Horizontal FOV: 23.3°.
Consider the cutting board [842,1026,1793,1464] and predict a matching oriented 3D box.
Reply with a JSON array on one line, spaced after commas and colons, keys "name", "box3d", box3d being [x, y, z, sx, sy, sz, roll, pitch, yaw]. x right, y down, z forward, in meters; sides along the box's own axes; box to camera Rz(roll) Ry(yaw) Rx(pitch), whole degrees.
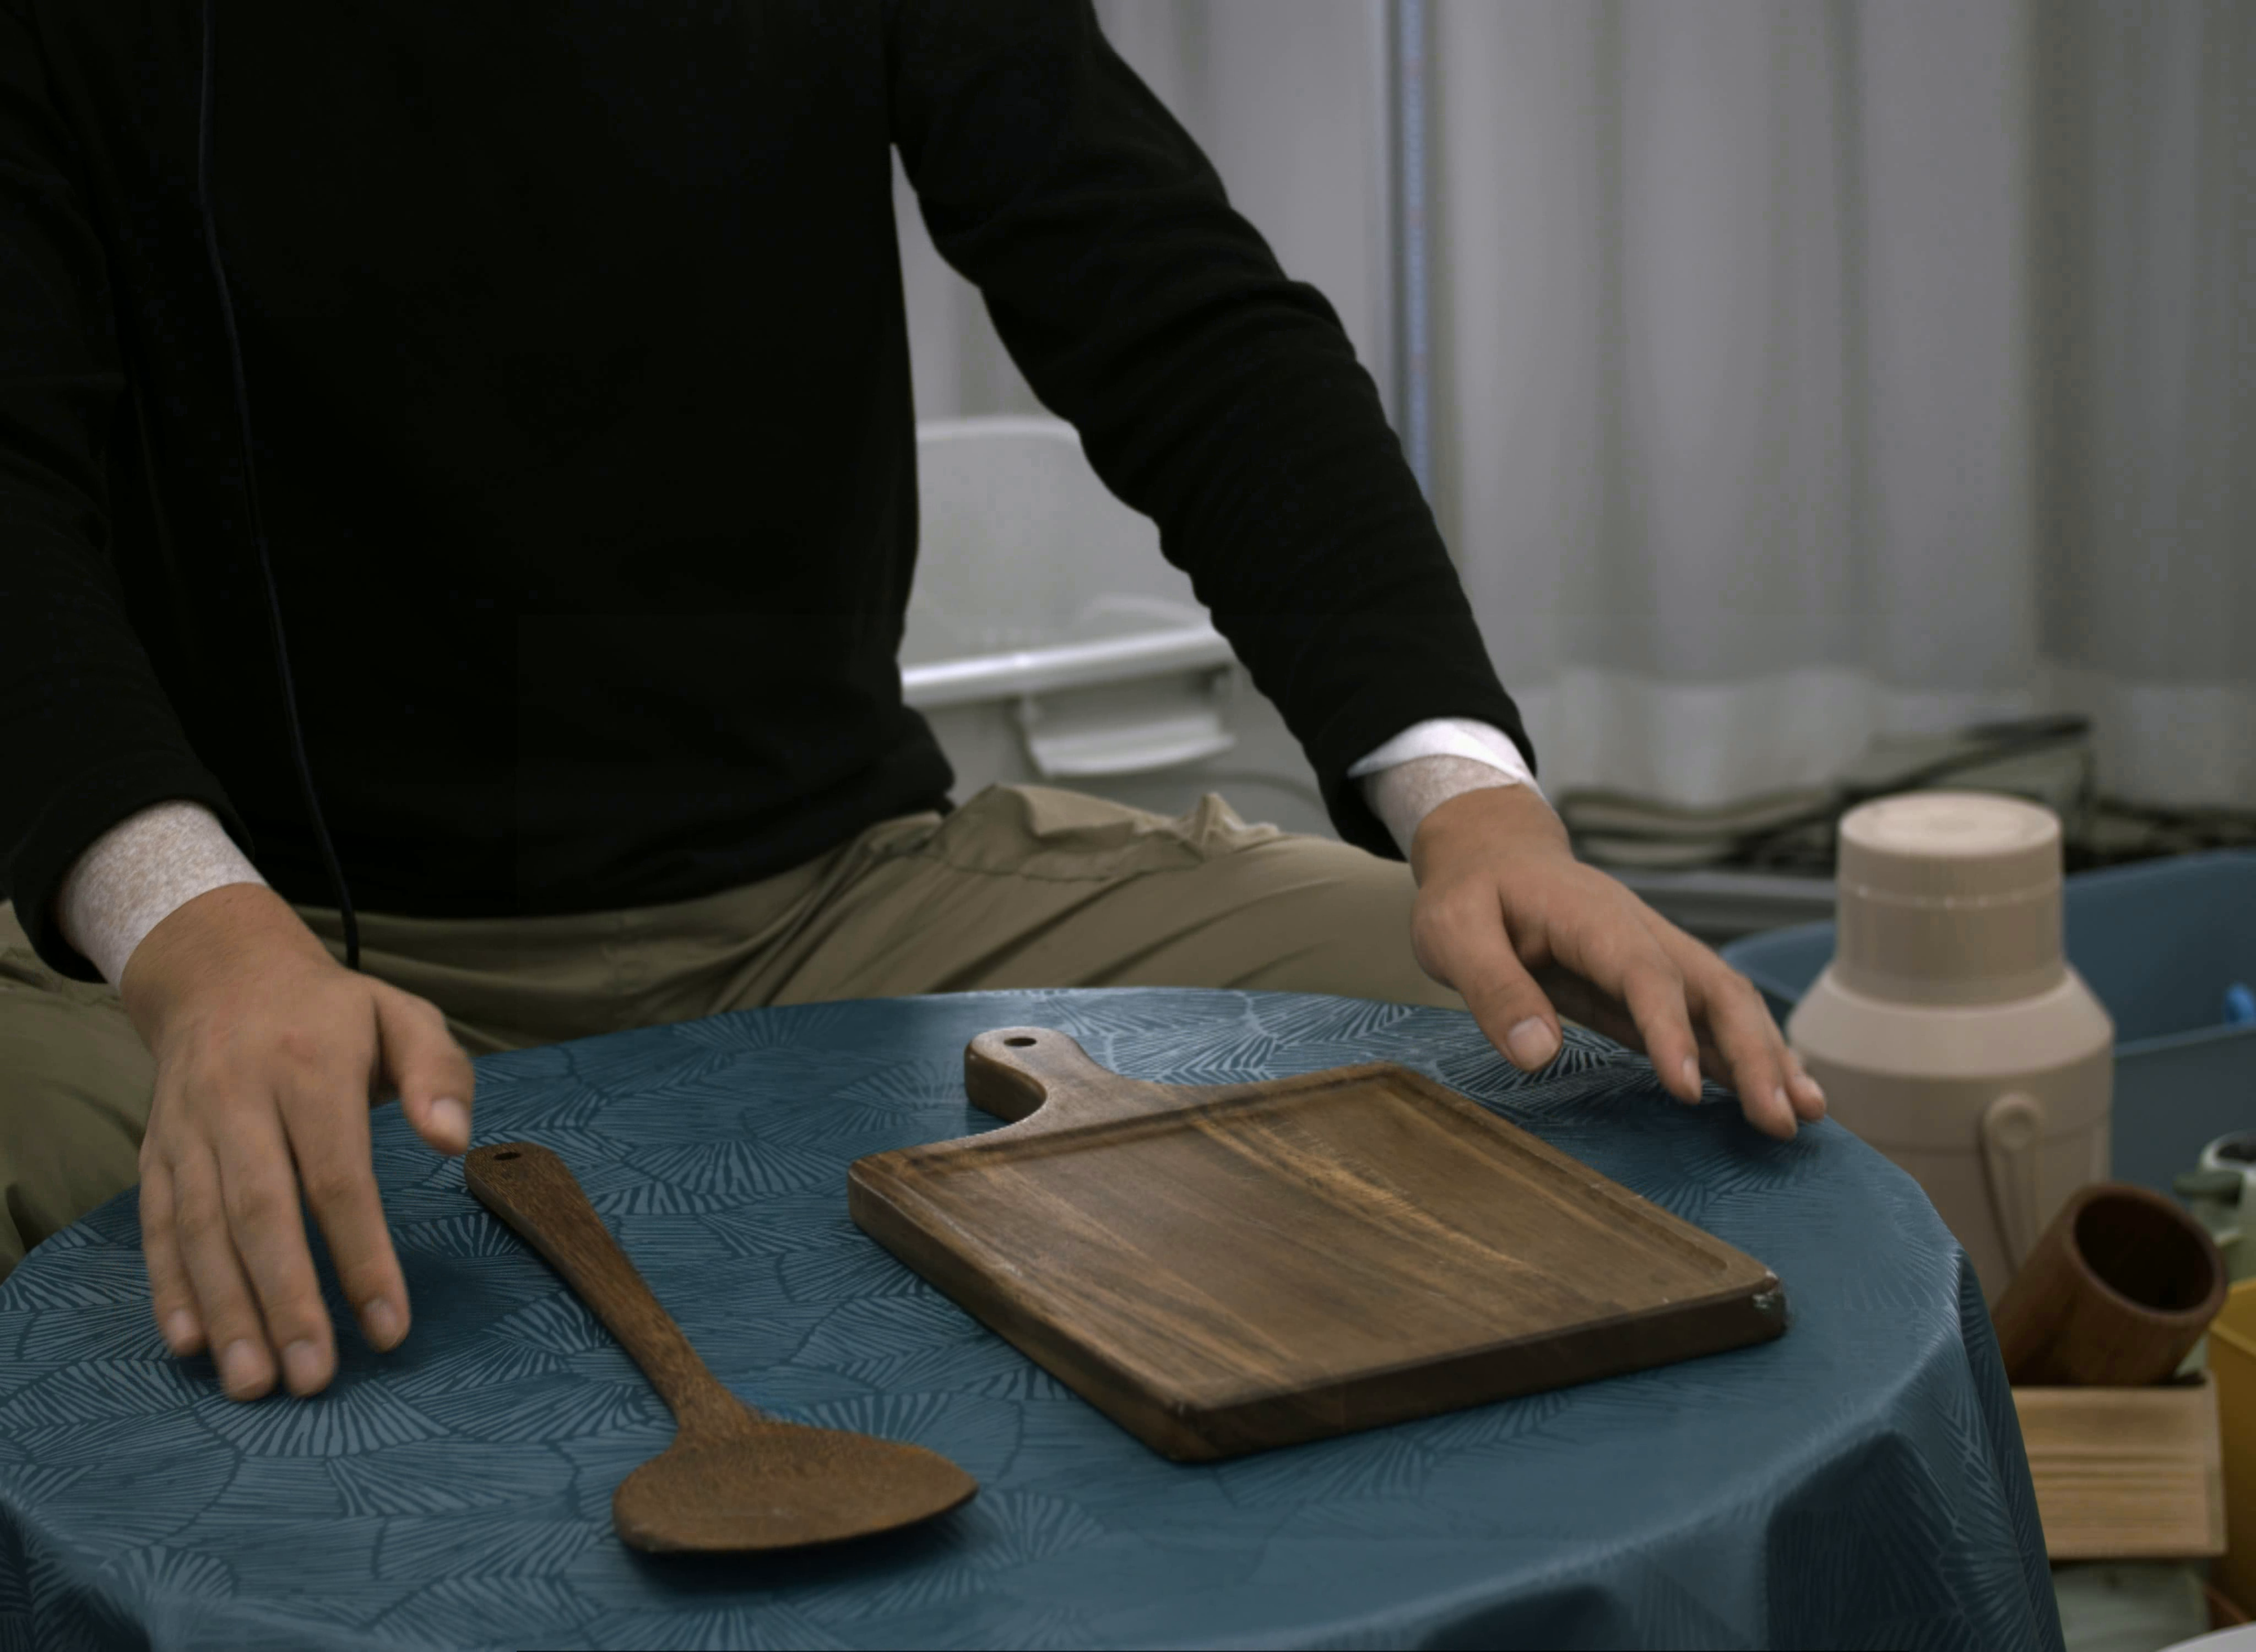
[{"name": "cutting board", "box3d": [0.030, 0.114, 1.671, 0.200, 0.023, 0.355, -9, 16, -23]}]

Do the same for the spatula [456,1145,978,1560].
[{"name": "spatula", "box3d": [-0.142, 0.146, 1.594, 0.095, 0.016, 0.389, -8, 15, -18]}]
